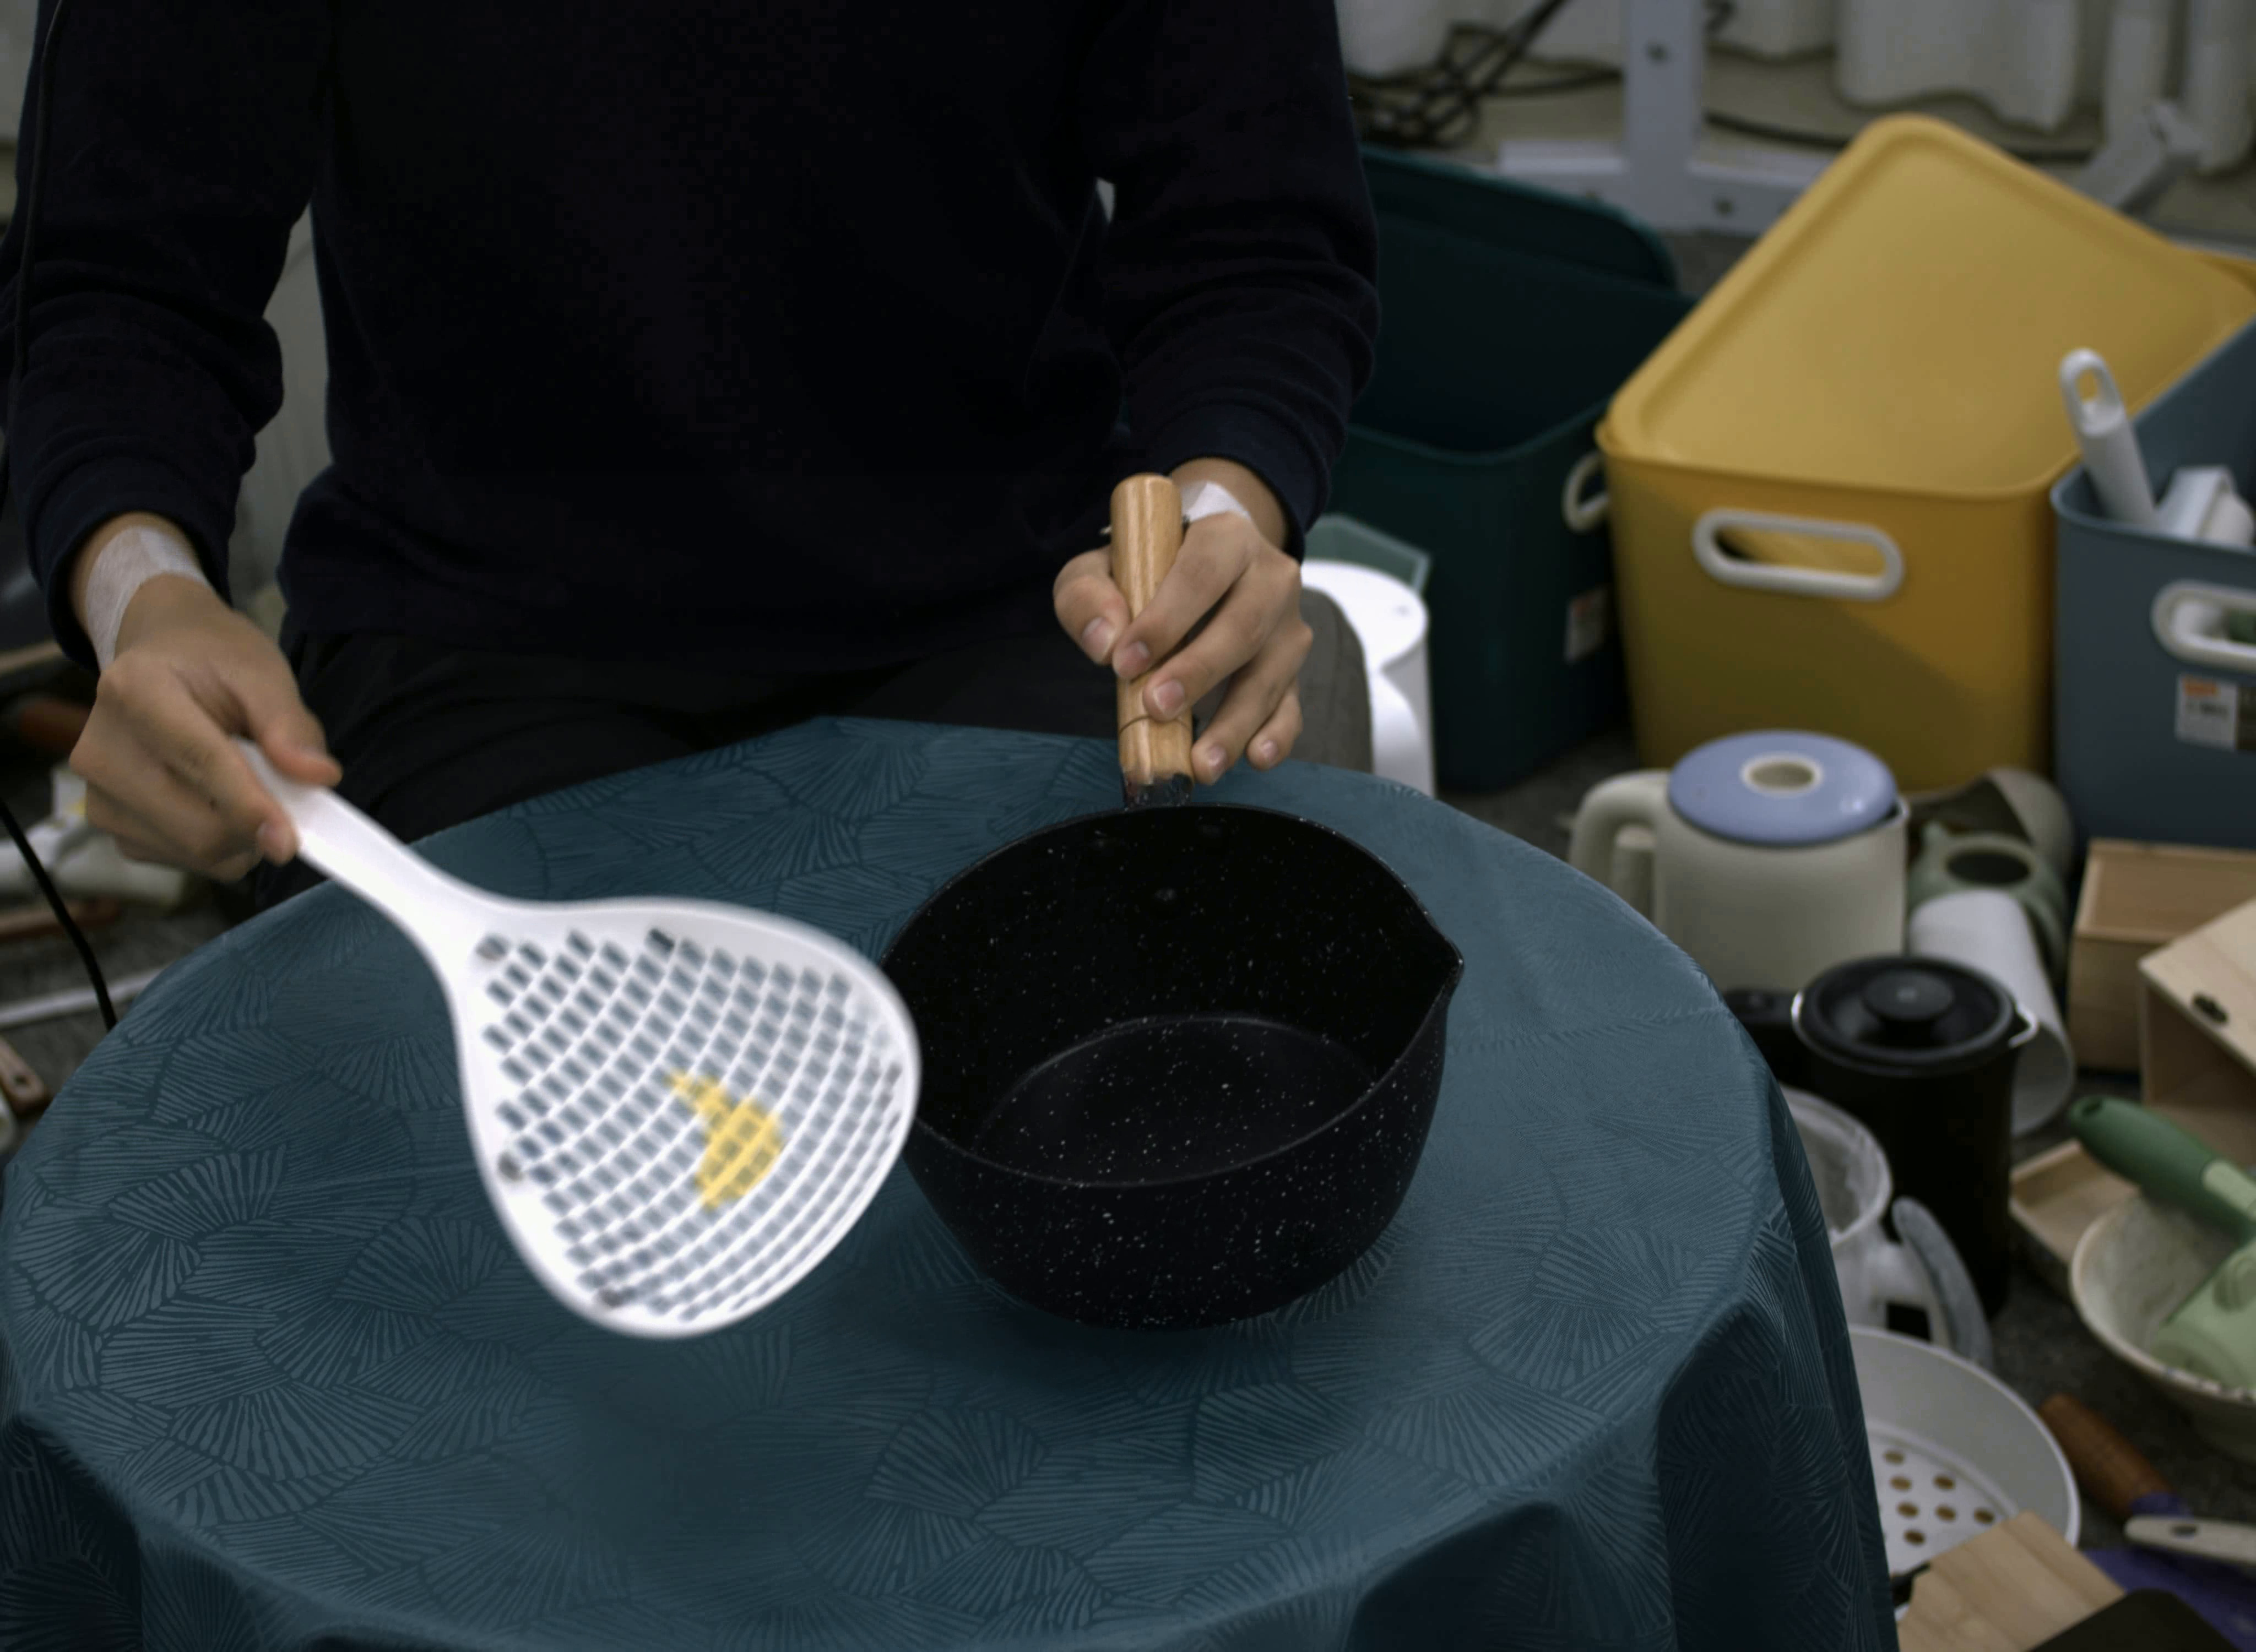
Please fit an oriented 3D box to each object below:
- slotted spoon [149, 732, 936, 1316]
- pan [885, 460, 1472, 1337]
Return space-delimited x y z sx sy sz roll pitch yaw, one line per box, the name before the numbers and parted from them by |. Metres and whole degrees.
slotted spoon | -0.196 0.038 1.759 0.348 0.050 0.138 32 80 30
pan | 0.010 0.022 1.871 0.206 0.107 0.349 -7 40 5
